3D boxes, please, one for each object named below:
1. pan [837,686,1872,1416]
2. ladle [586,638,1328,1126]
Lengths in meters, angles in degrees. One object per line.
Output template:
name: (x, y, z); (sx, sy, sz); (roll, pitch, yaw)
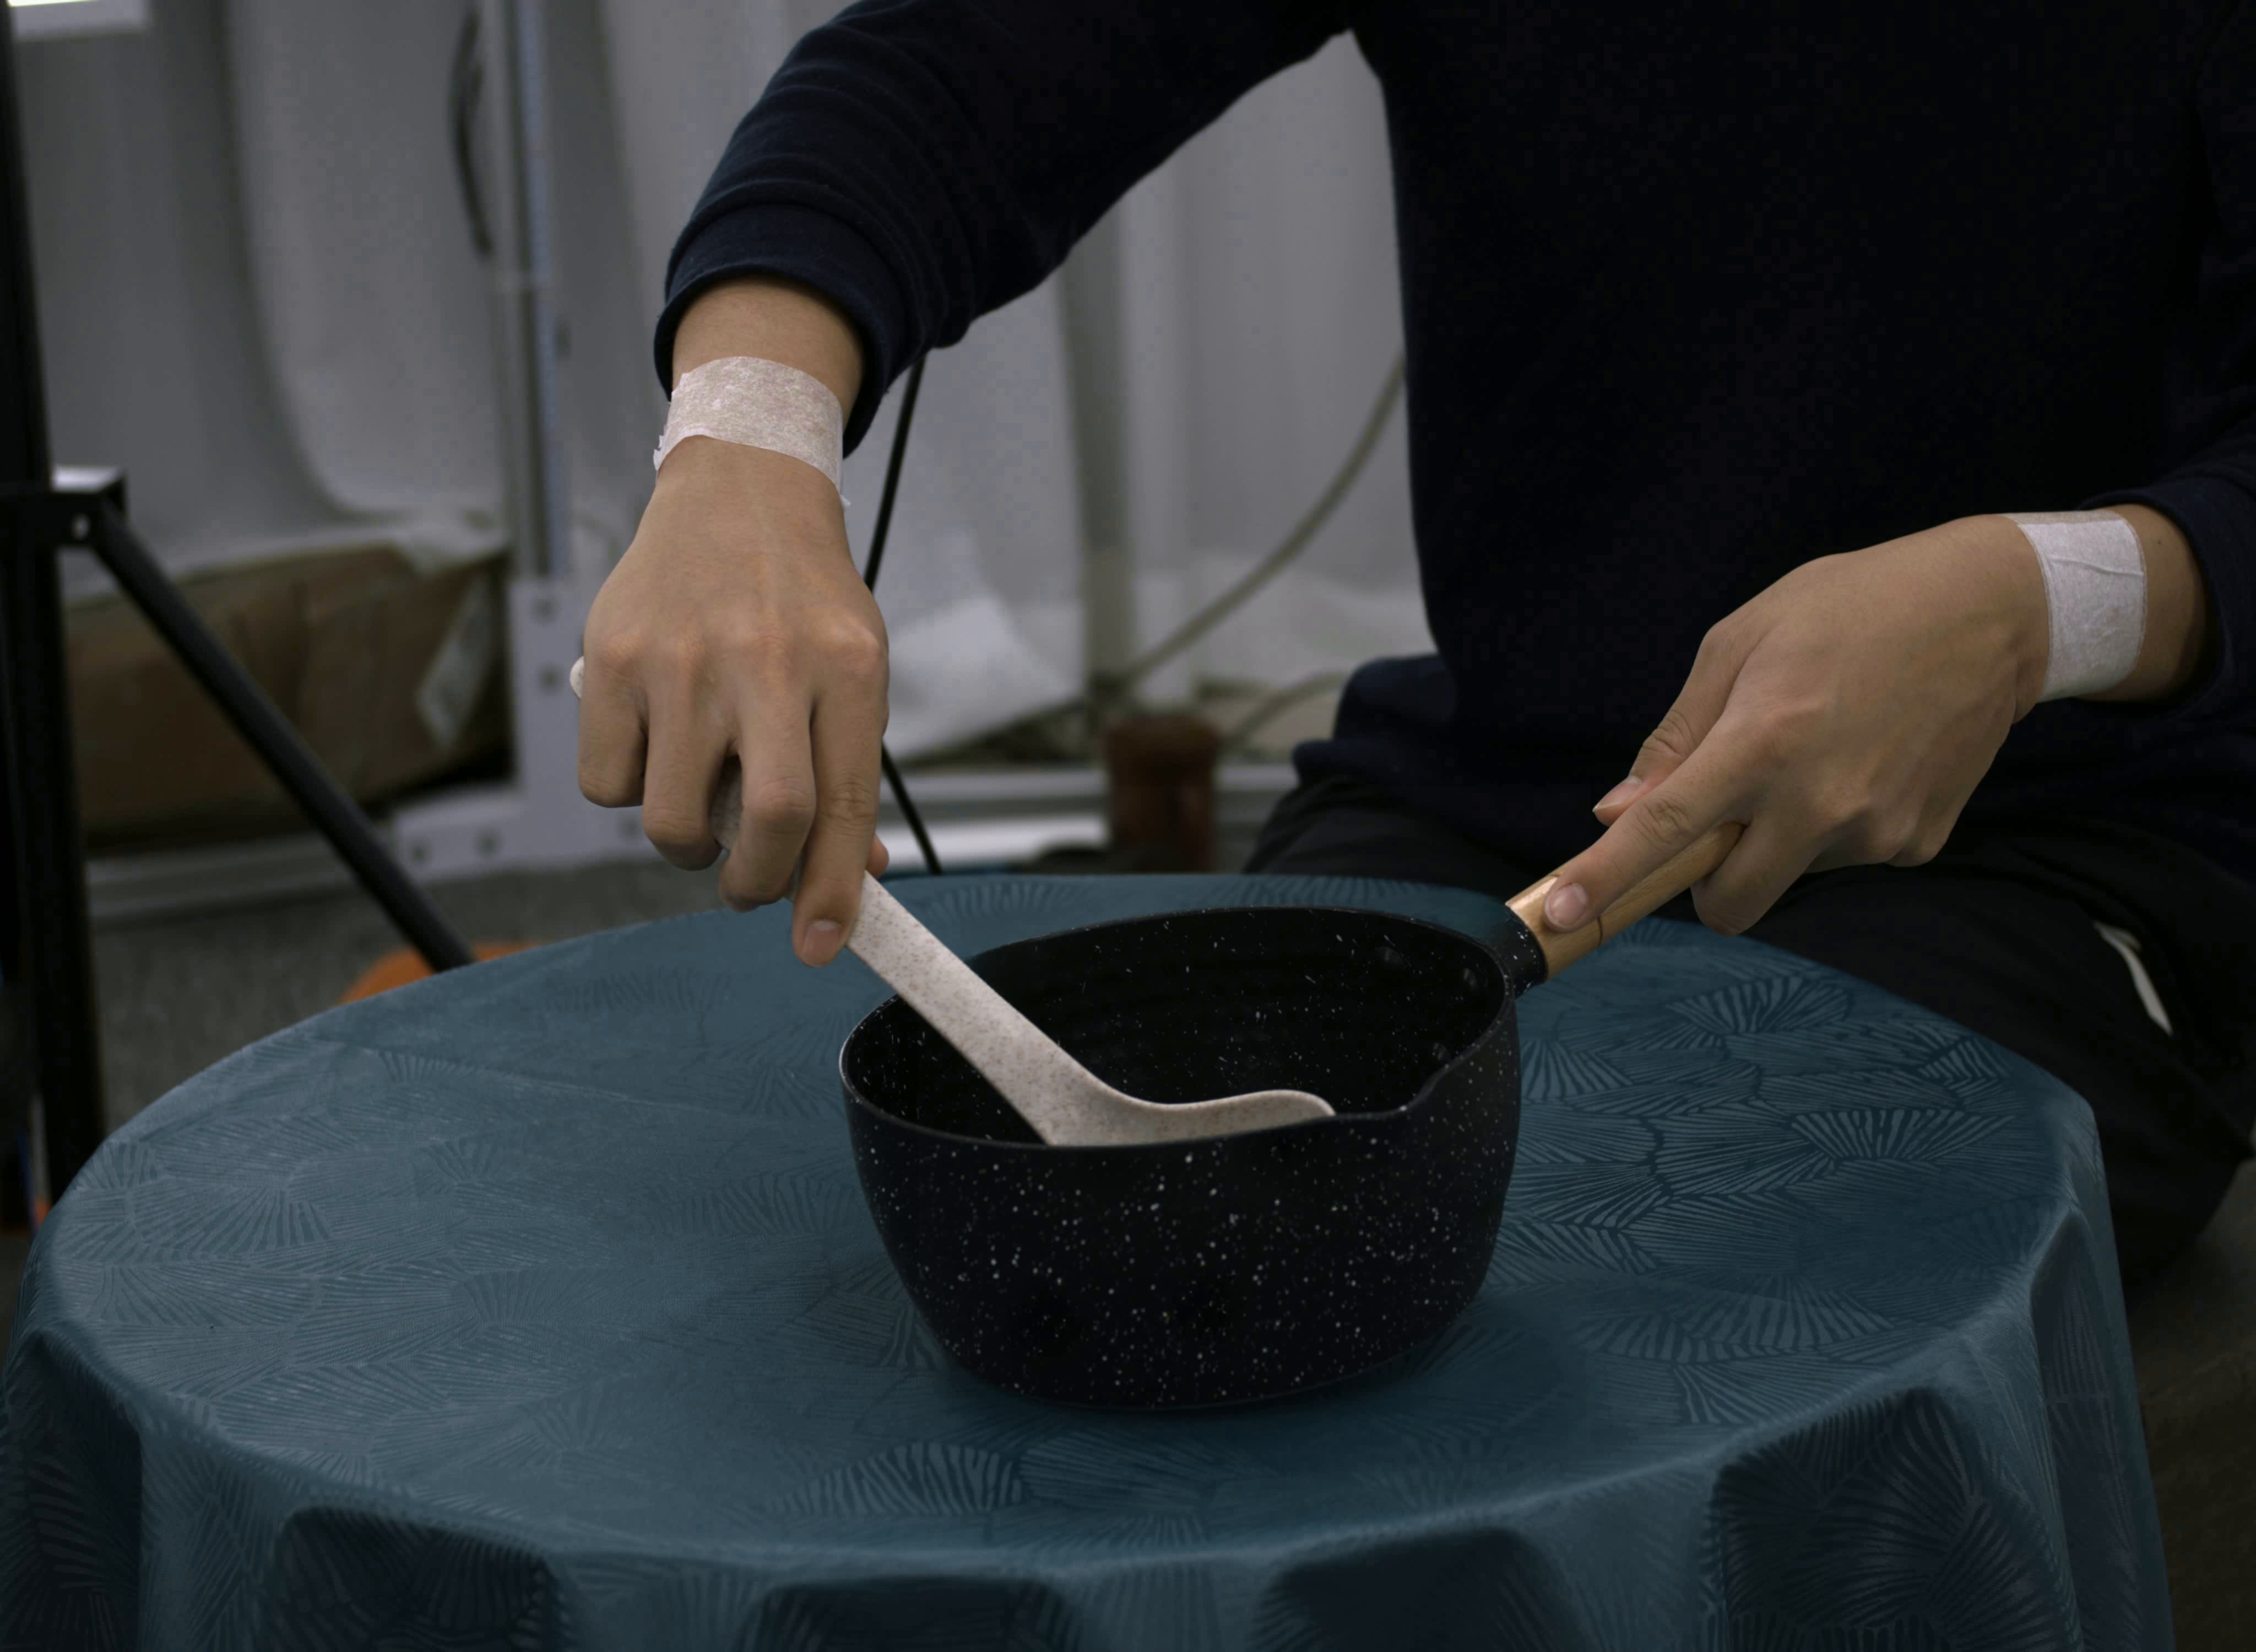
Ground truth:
pan: (0.079, 0.059, 1.477); (0.336, 0.108, 0.212); (-20, 20, -31)
ladle: (-0.054, 0.032, 1.448); (0.278, 0.089, 0.069); (43, -8, 15)
